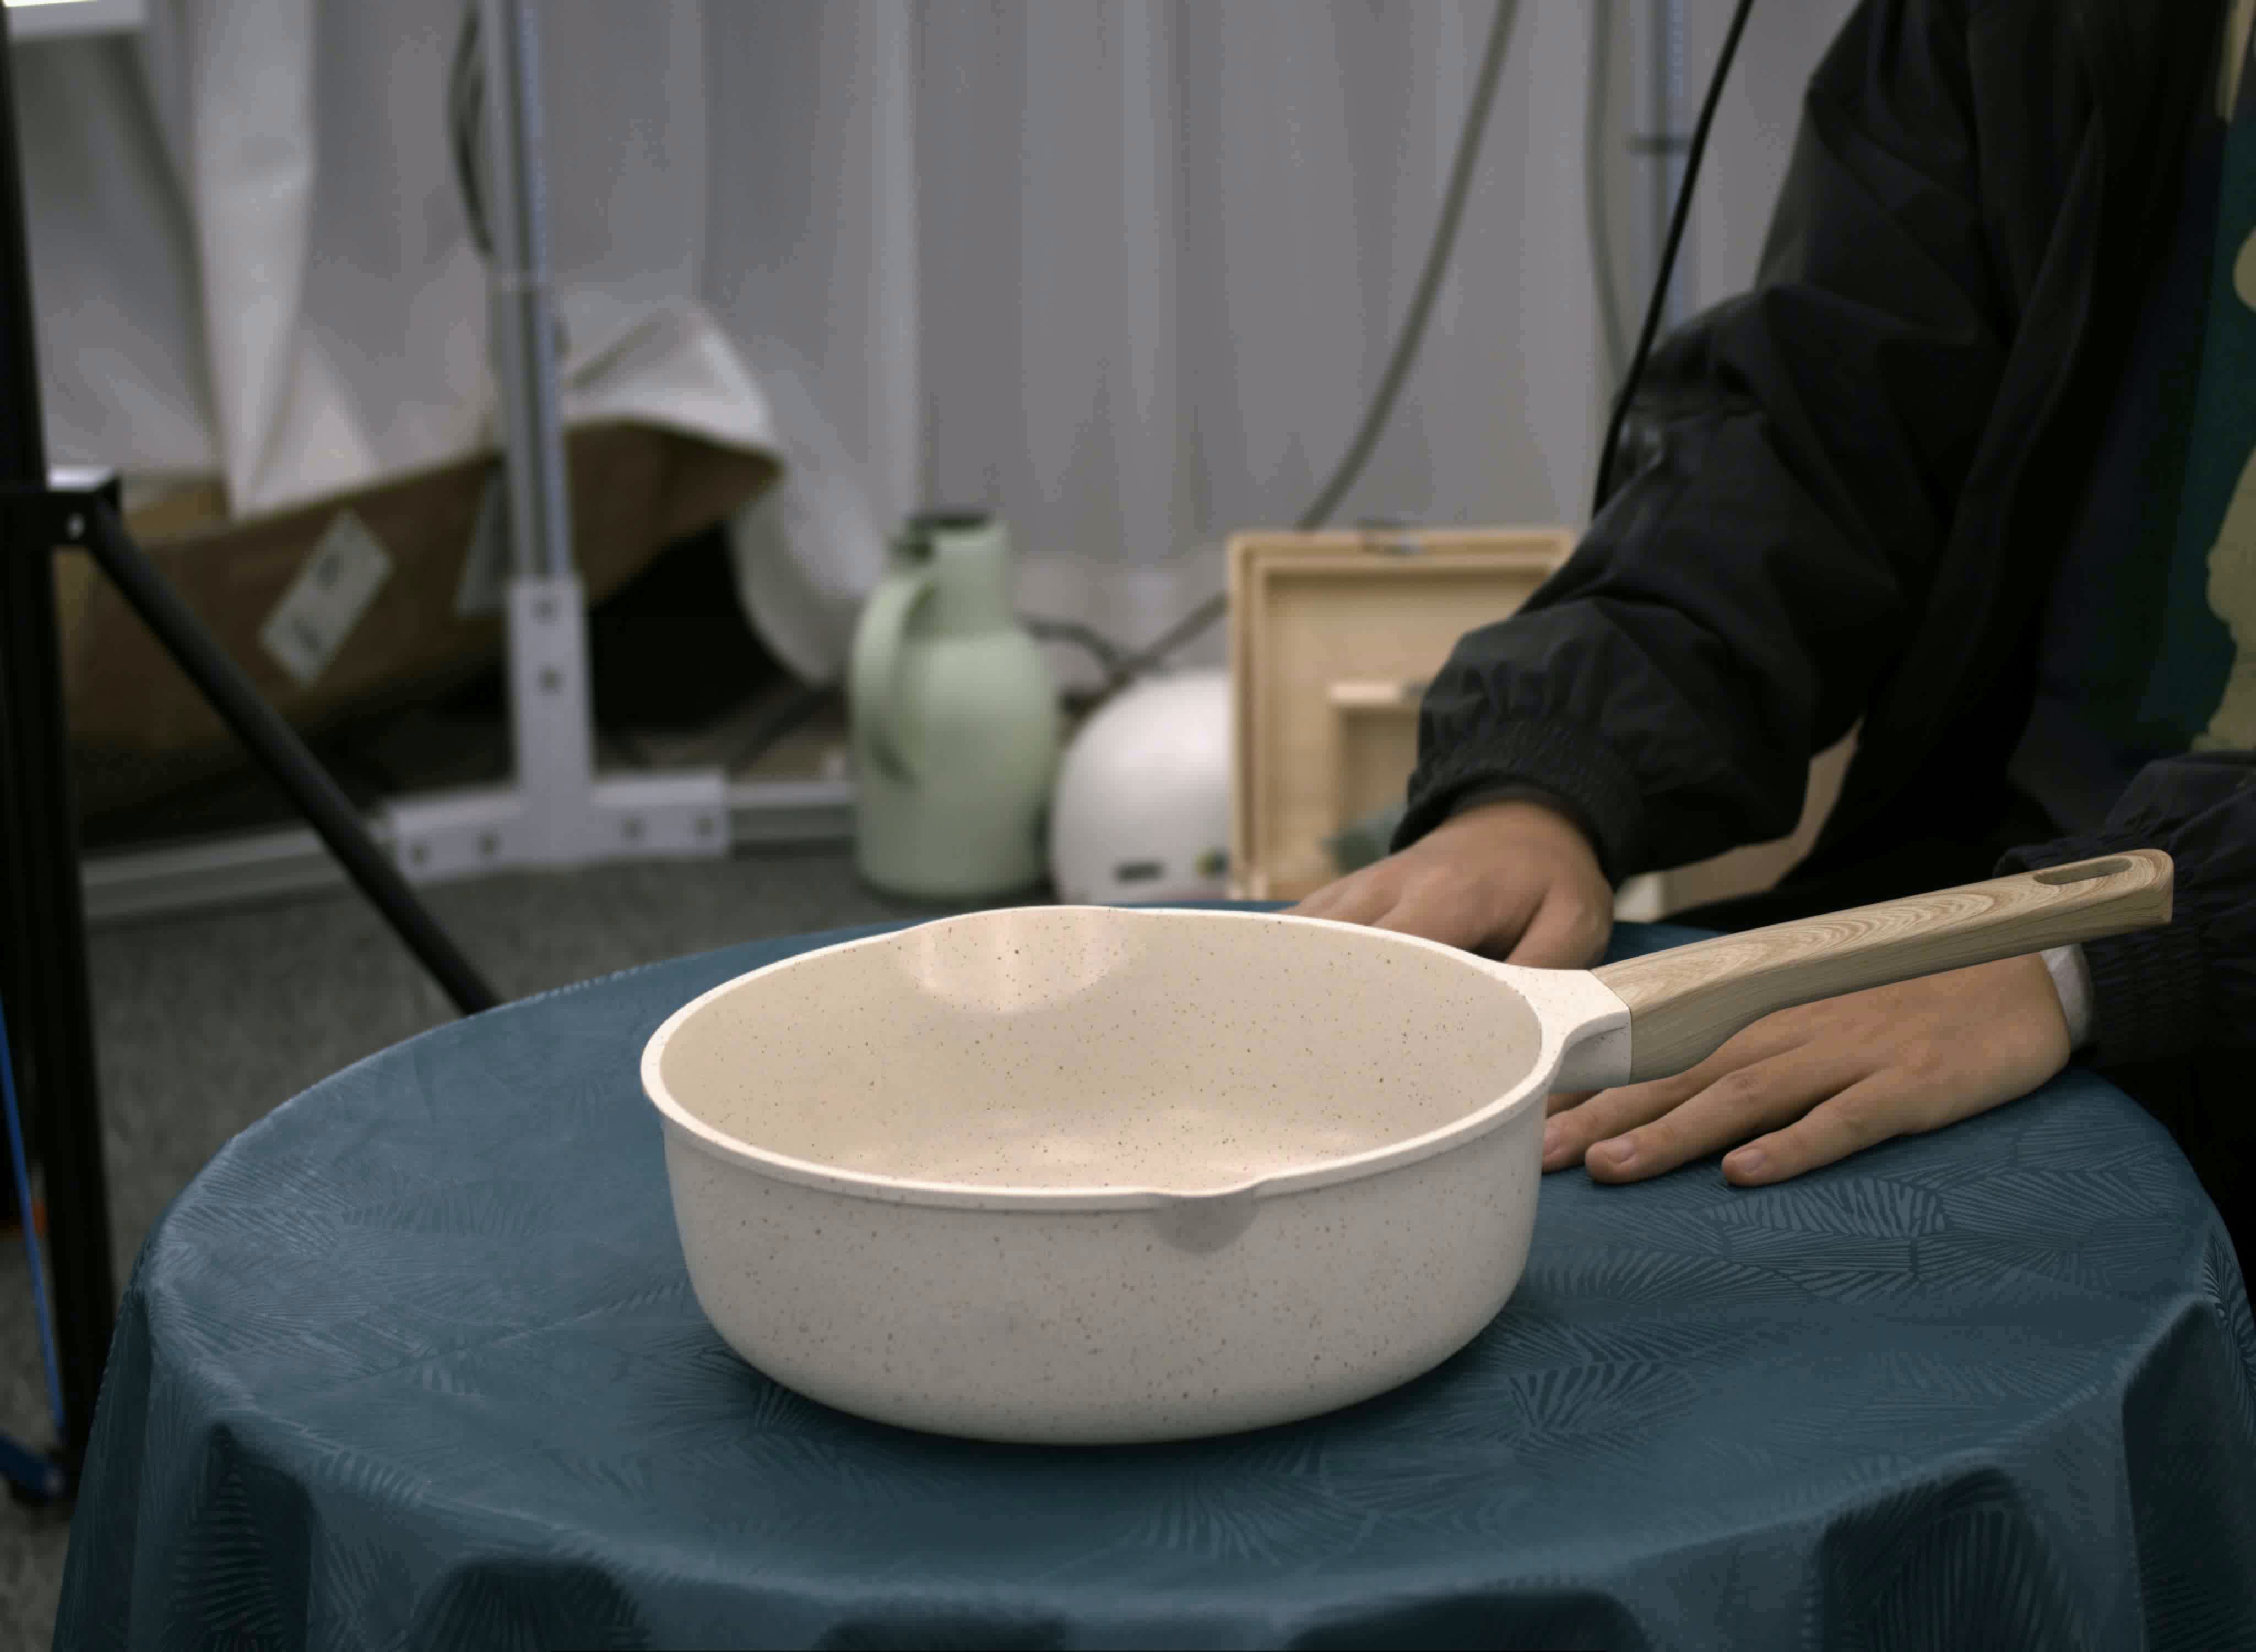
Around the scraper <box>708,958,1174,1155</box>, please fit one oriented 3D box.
[{"bbox_3d":[-0.047,0.071,1.682,0.077,0.011,0.207,8,18,31],"label":"scraper"}]

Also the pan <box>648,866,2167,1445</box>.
[{"bbox_3d":[0.085,0.082,1.459,0.429,0.102,0.266,-5,14,-11],"label":"pan"}]
